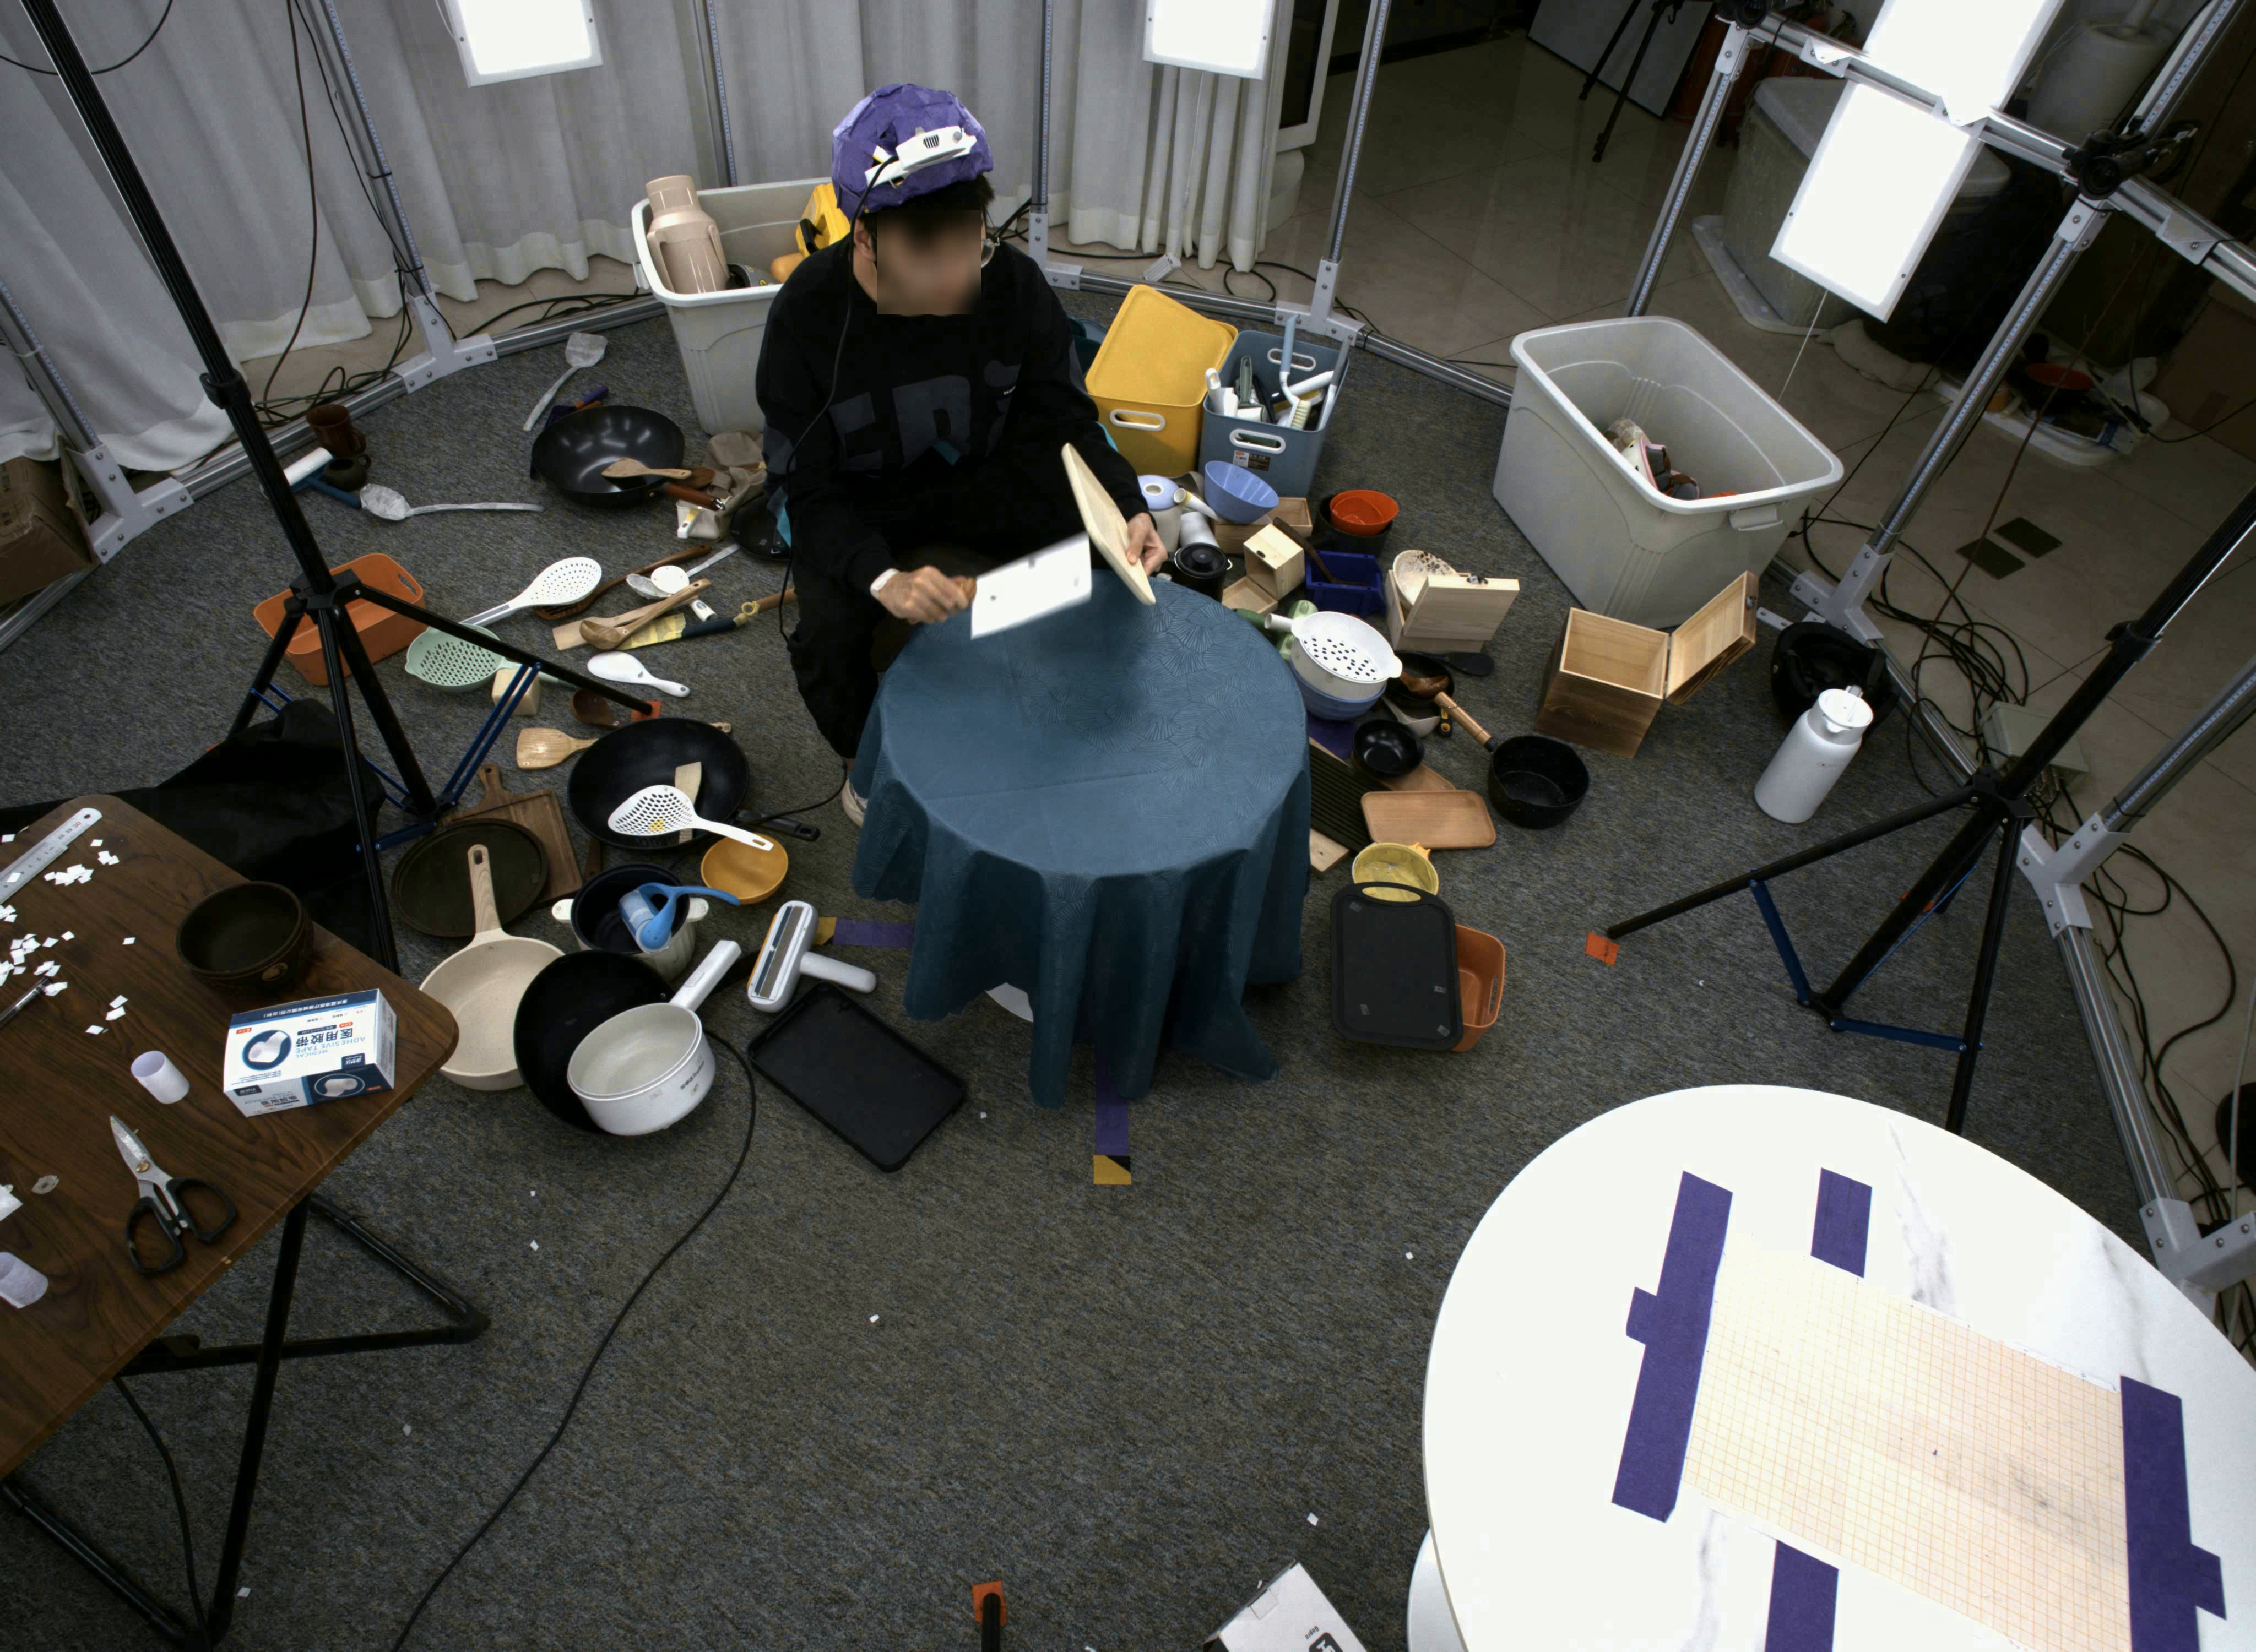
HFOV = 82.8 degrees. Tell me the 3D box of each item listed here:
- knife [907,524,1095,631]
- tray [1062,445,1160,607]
[{"bbox_3d":[-0.174,-0.314,1.731,0.305,0.020,0.095,-18,63,27],"label":"knife"},{"bbox_3d":[-0.027,-0.418,1.800,0.017,0.168,0.246,-32,46,16],"label":"tray"}]
